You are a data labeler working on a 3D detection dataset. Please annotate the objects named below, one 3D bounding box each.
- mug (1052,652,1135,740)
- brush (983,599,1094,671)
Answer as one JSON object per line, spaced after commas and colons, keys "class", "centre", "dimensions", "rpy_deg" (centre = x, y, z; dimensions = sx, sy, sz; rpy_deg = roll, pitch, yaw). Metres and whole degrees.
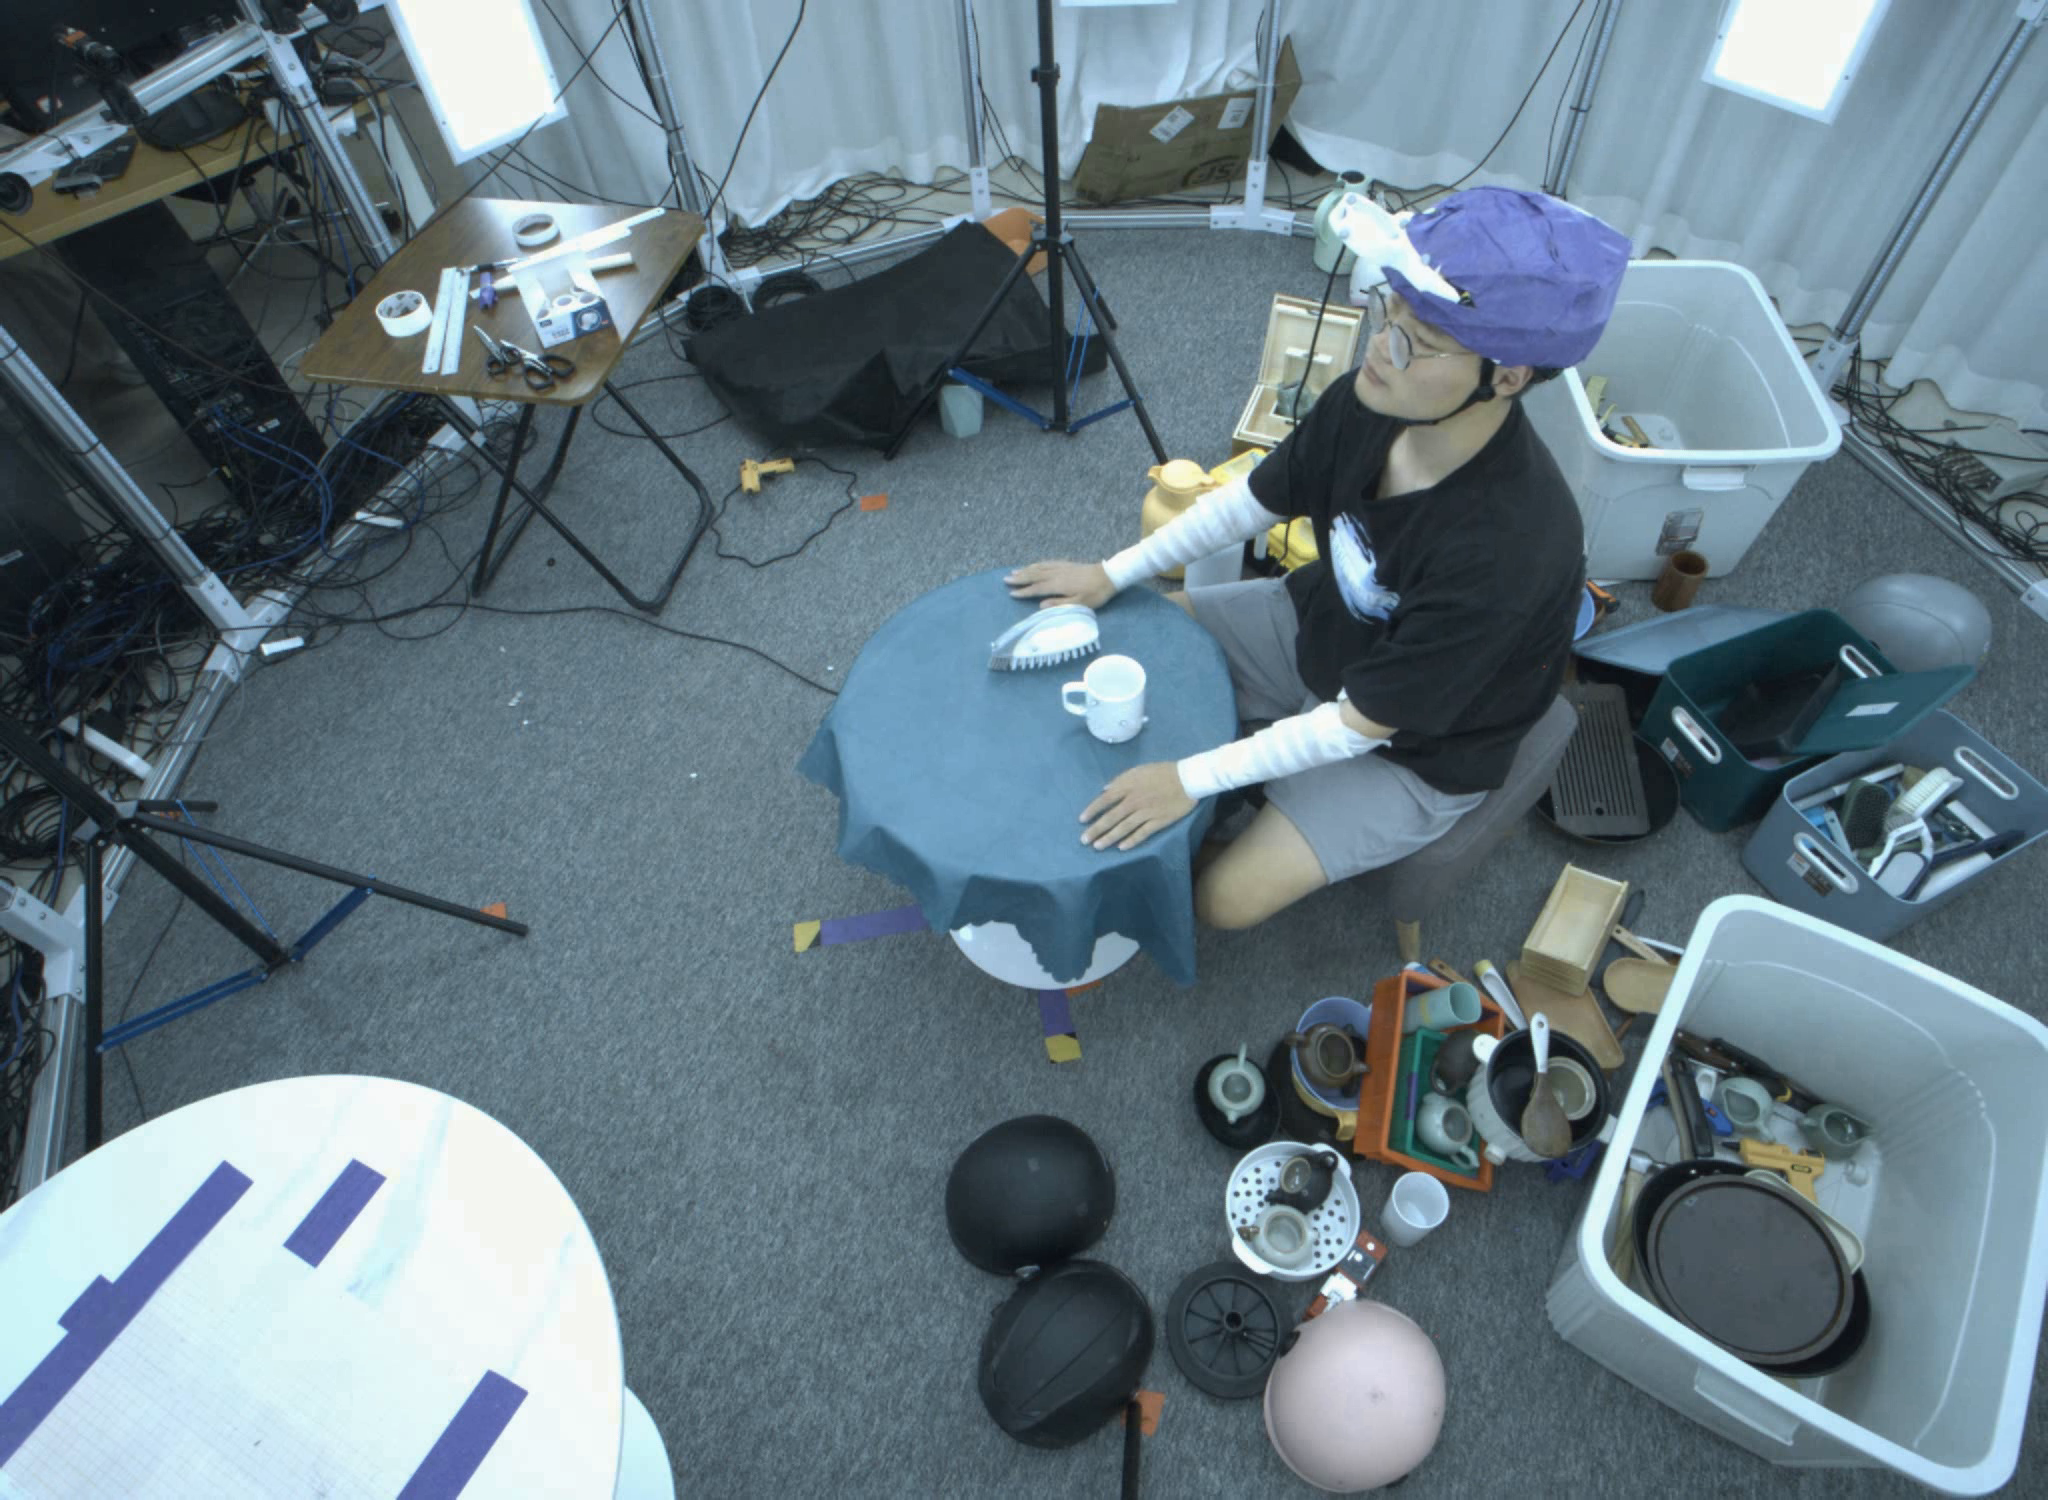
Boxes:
{"class": "mug", "centre": [0.101, -0.075, 1.765], "dimensions": [0.118, 0.103, 0.084], "rpy_deg": [-3, 54, 2]}
{"class": "brush", "centre": [0.016, -0.175, 1.847], "dimensions": [0.176, 0.095, 0.060], "rpy_deg": [-18, 50, -8]}
